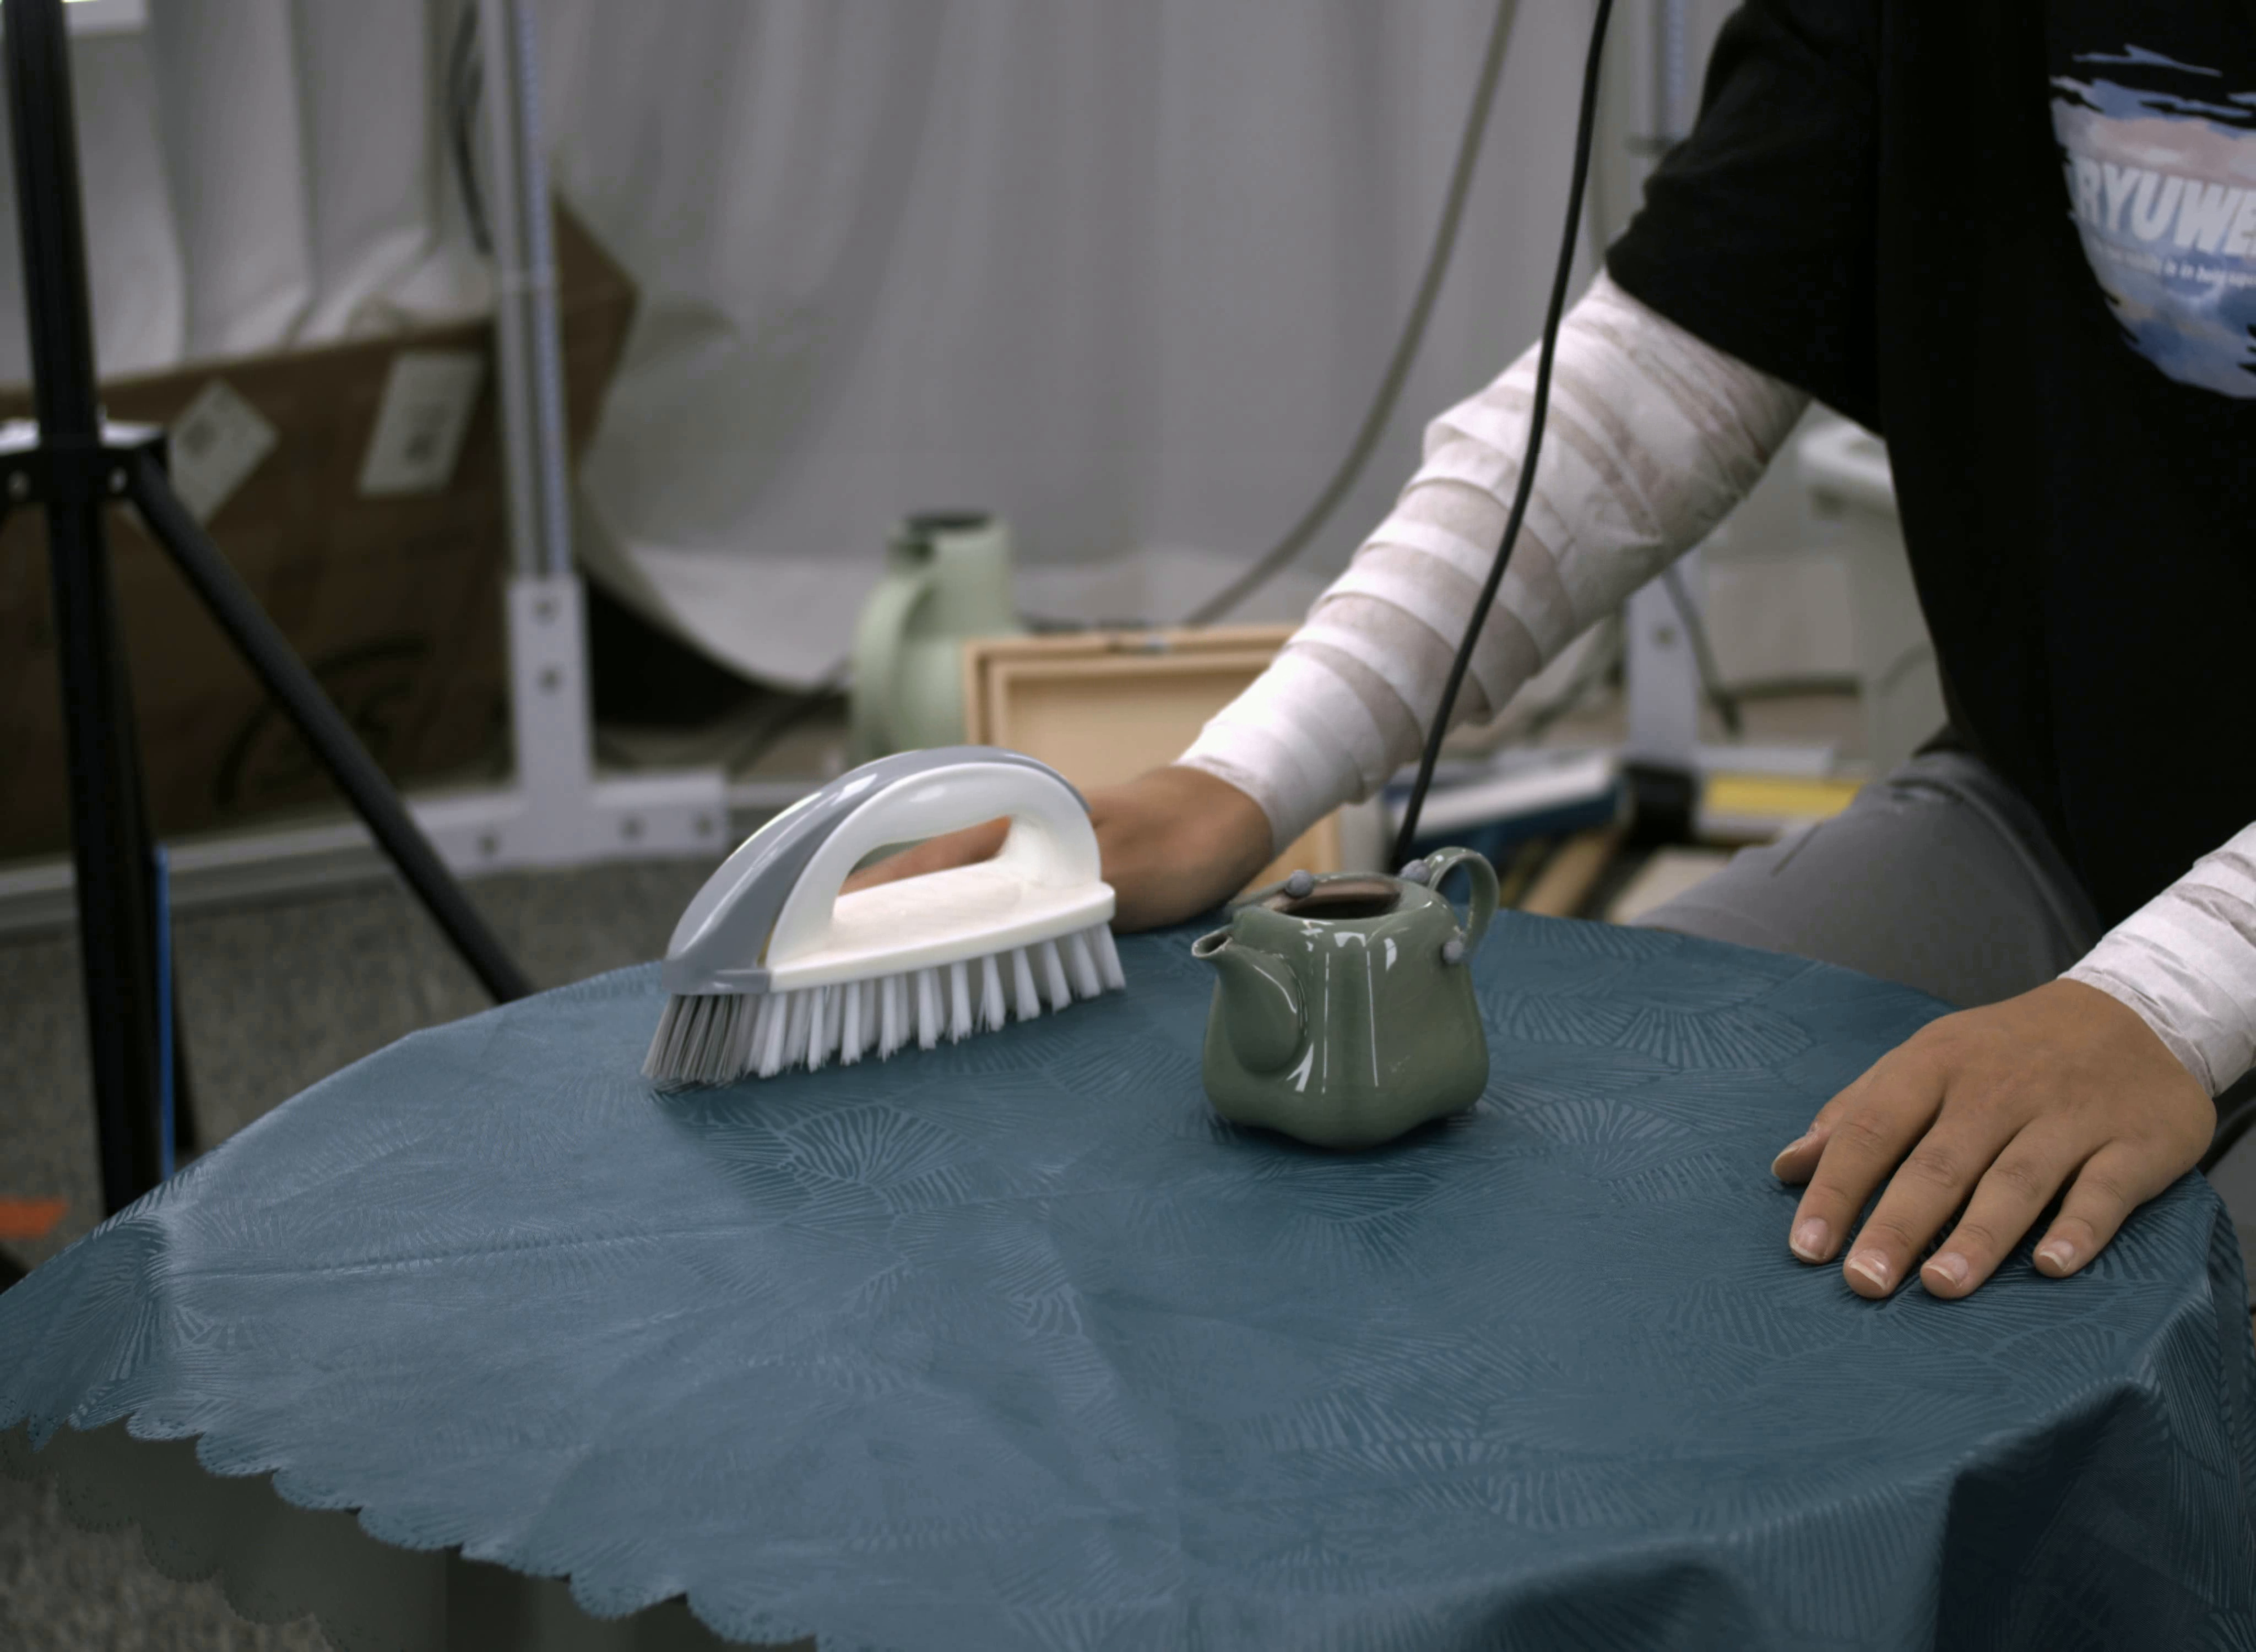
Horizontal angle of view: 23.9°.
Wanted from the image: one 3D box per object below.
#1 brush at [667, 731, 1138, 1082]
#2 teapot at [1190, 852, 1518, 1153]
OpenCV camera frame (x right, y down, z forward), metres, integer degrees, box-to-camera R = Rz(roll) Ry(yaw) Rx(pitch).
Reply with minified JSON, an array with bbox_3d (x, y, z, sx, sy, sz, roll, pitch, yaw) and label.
[{"bbox_3d":[-0.078,0.023,1.704,0.171,0.094,0.063,-15,17,-35],"label":"brush"},{"bbox_3d":[0.068,0.054,1.609,0.129,0.075,0.081,-13,21,-39],"label":"teapot"}]
